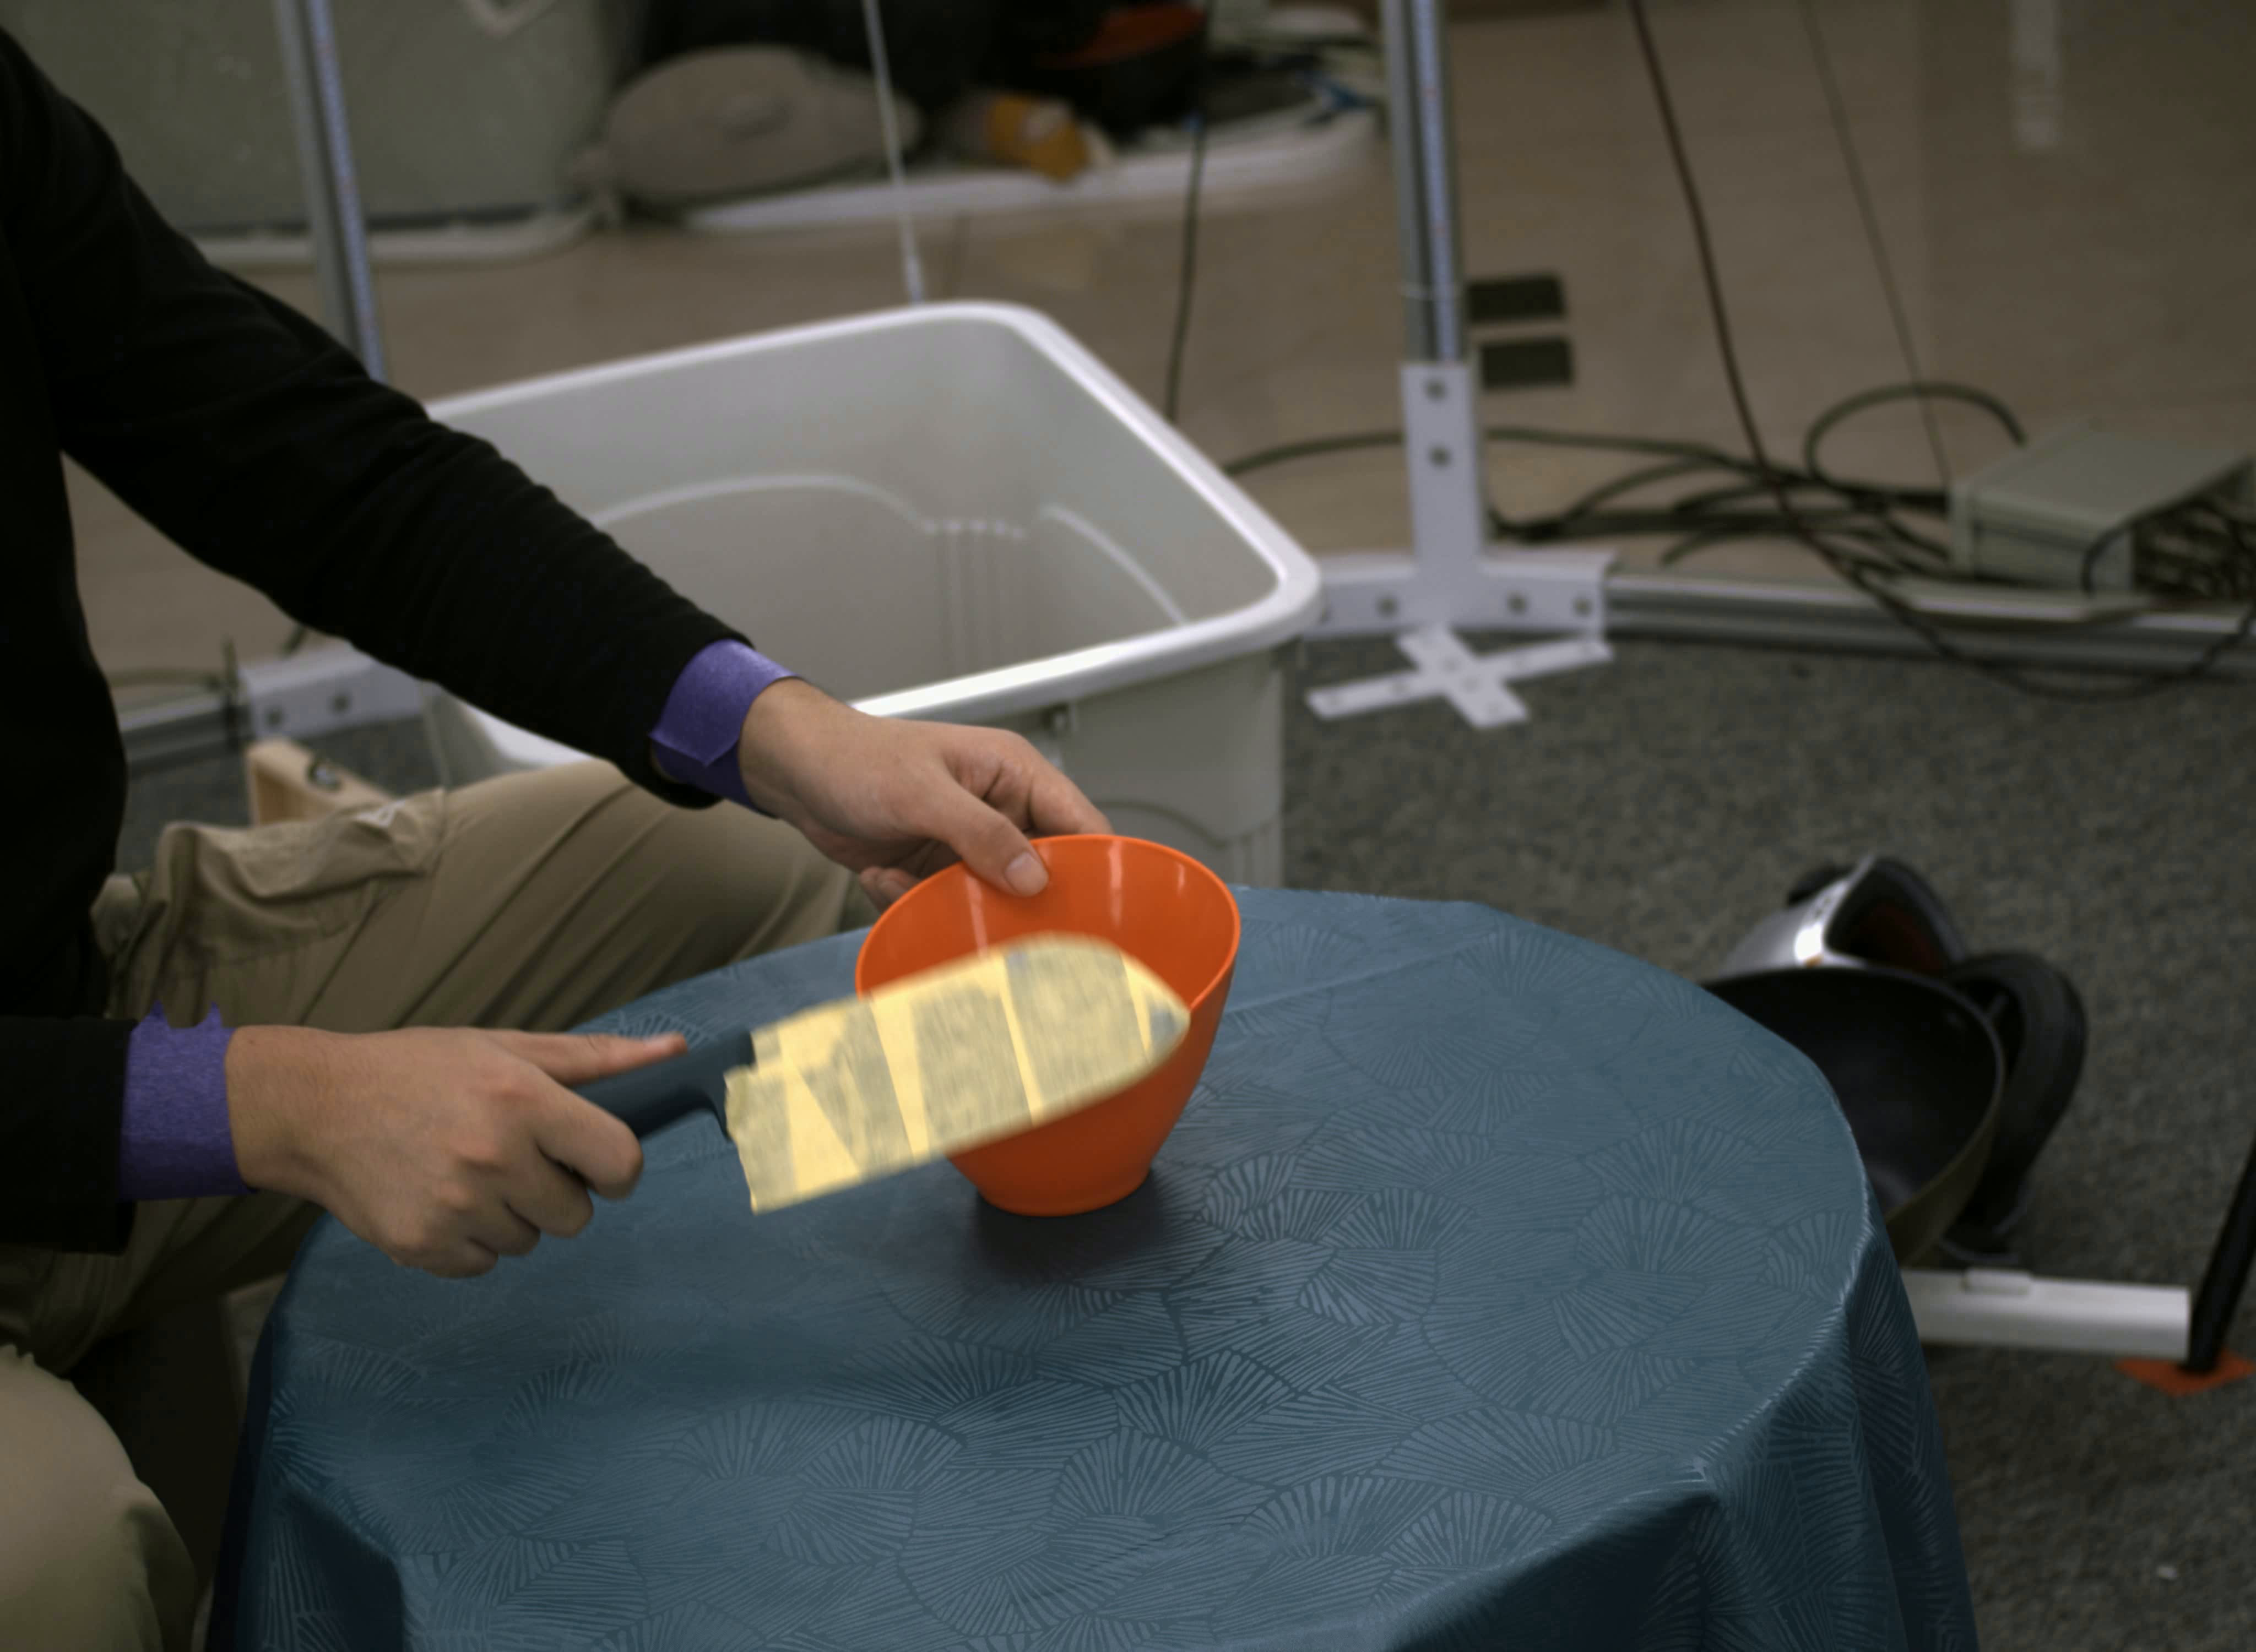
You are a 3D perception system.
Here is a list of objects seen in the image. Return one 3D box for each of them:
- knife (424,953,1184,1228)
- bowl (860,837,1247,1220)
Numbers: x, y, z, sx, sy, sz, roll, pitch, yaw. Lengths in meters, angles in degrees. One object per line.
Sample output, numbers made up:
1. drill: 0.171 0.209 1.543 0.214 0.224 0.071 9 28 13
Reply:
1. knife: -0.117 0.106 2.046 0.289 0.027 0.079 -16 55 9
2. bowl: -0.025 0.083 2.153 0.148 0.106 0.146 -4 26 2
